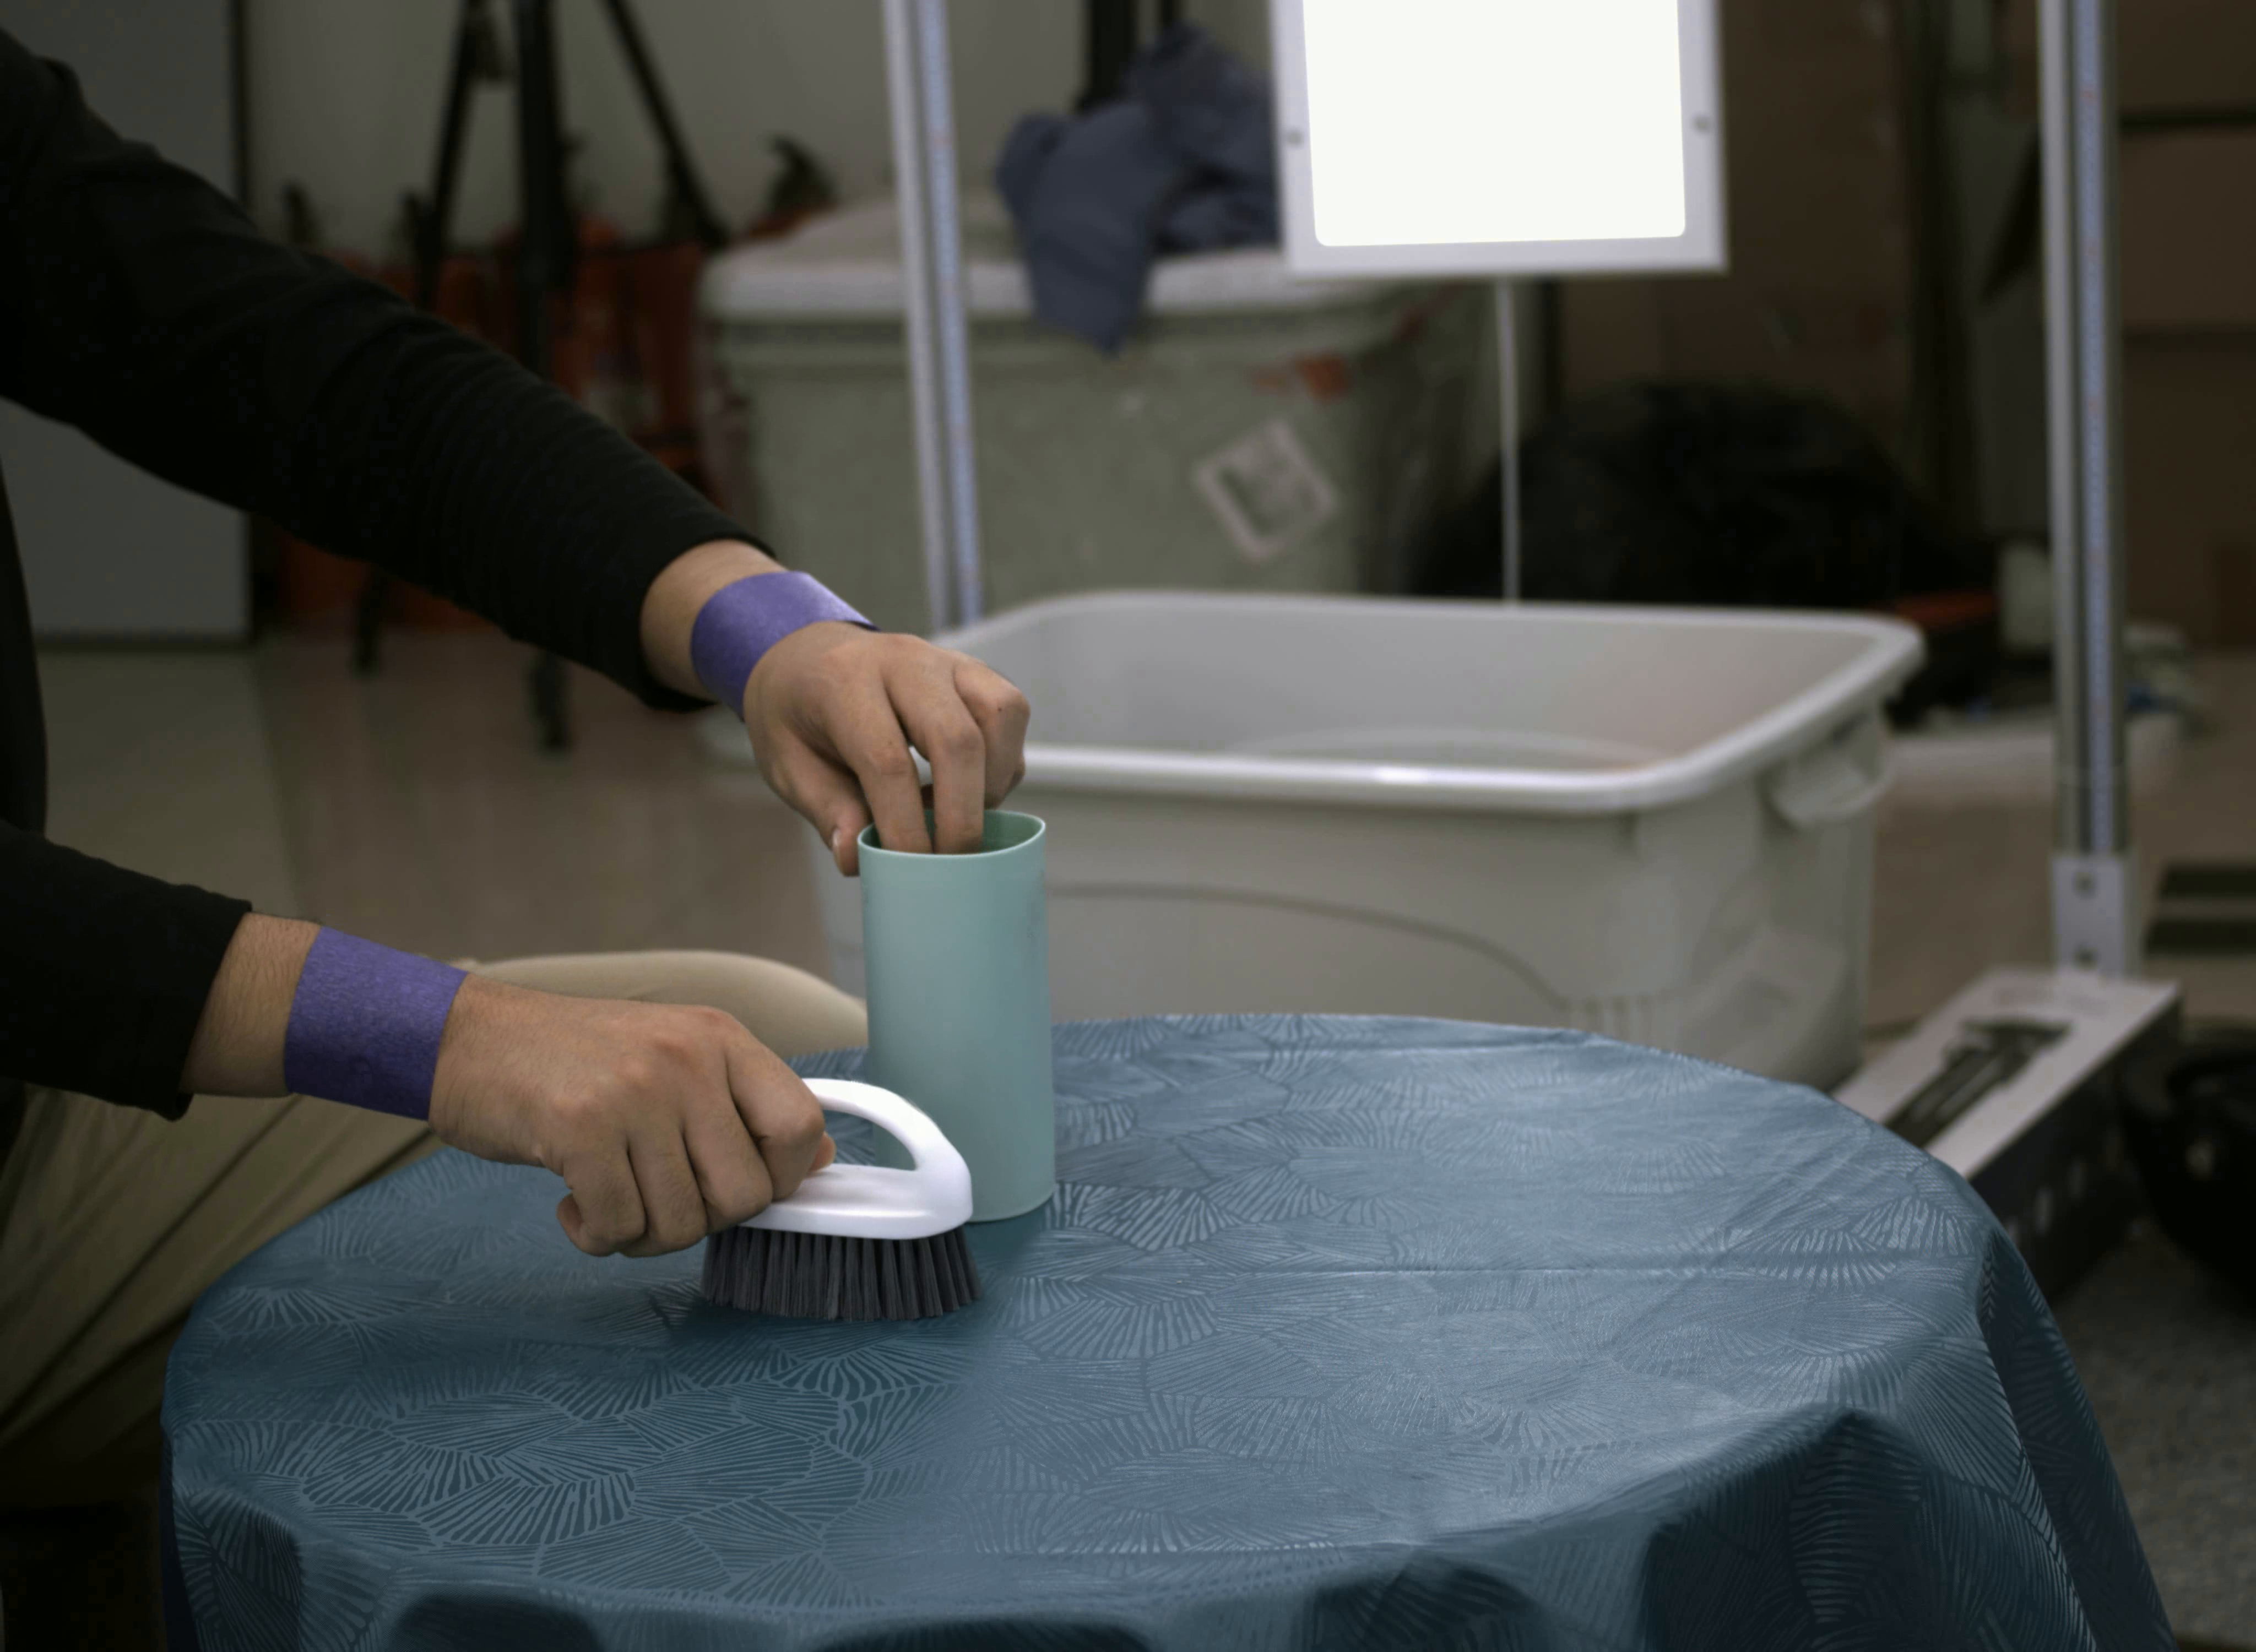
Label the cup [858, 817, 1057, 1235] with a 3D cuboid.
[{"bbox_3d":[-0.058,0.068,1.892,0.066,0.133,0.066,-2,15,-1],"label":"cup"}]

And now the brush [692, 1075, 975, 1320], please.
[{"bbox_3d":[-0.099,0.118,1.810,0.101,0.073,0.049,5,15,31],"label":"brush"}]
